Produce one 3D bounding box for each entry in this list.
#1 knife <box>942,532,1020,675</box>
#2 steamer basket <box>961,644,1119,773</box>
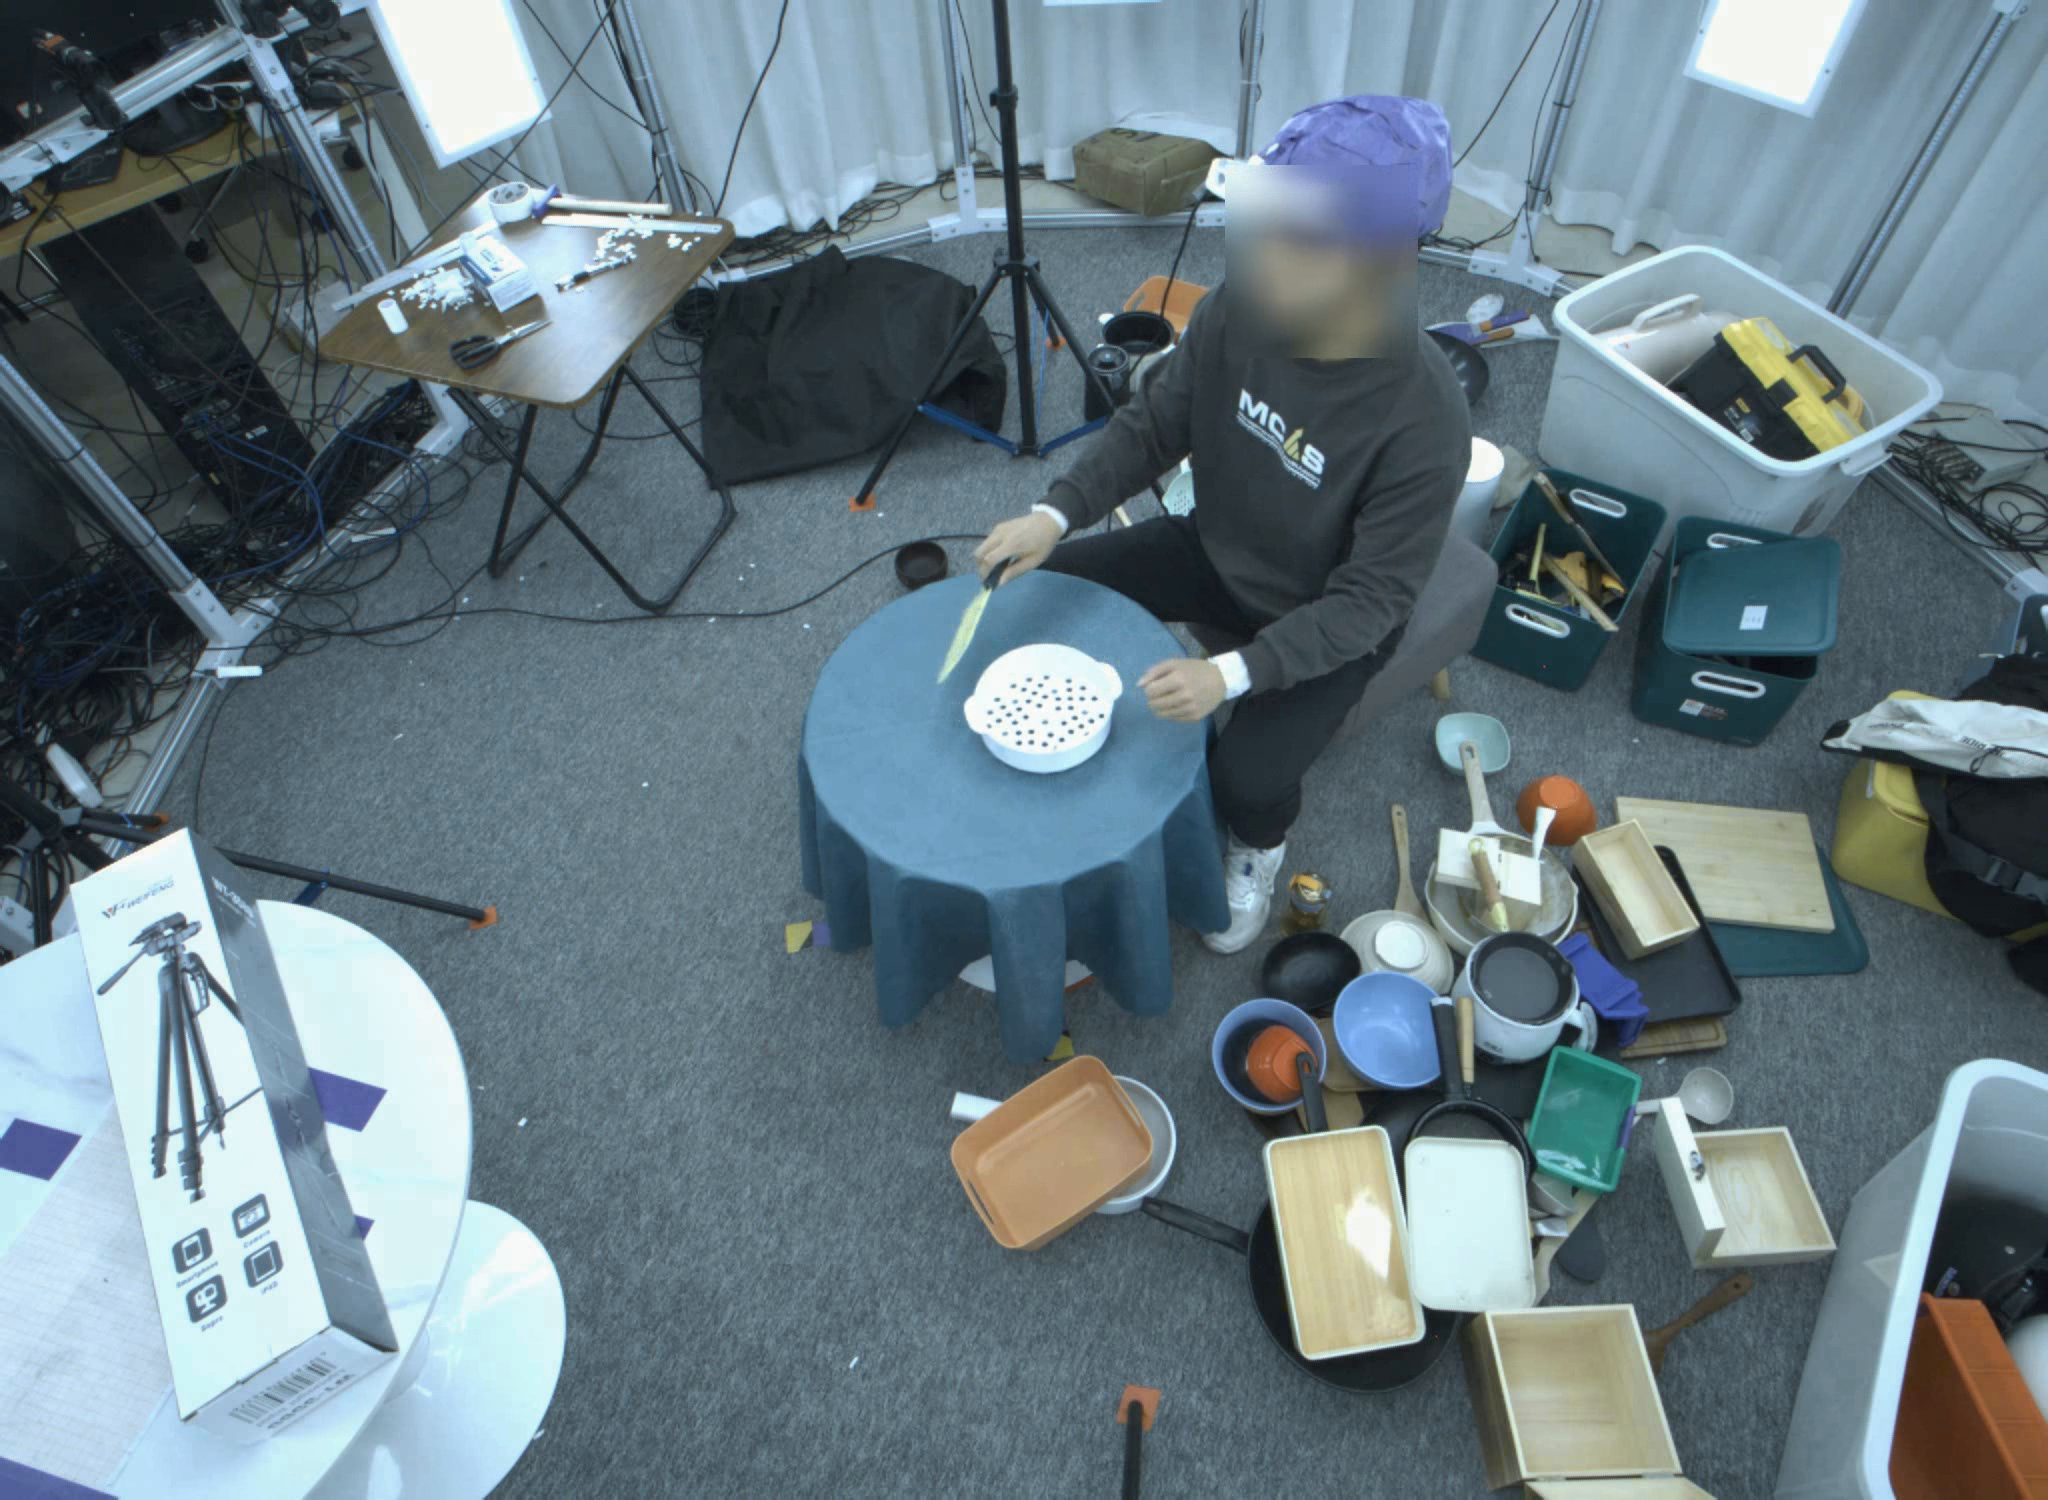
[{"bbox_3d":[-0.065,-0.219,1.830,0.027,0.080,0.289,36,55,-19],"label":"knife"},{"bbox_3d":[0.024,-0.059,1.794,0.232,0.070,0.198,-14,56,-9],"label":"steamer basket"}]
